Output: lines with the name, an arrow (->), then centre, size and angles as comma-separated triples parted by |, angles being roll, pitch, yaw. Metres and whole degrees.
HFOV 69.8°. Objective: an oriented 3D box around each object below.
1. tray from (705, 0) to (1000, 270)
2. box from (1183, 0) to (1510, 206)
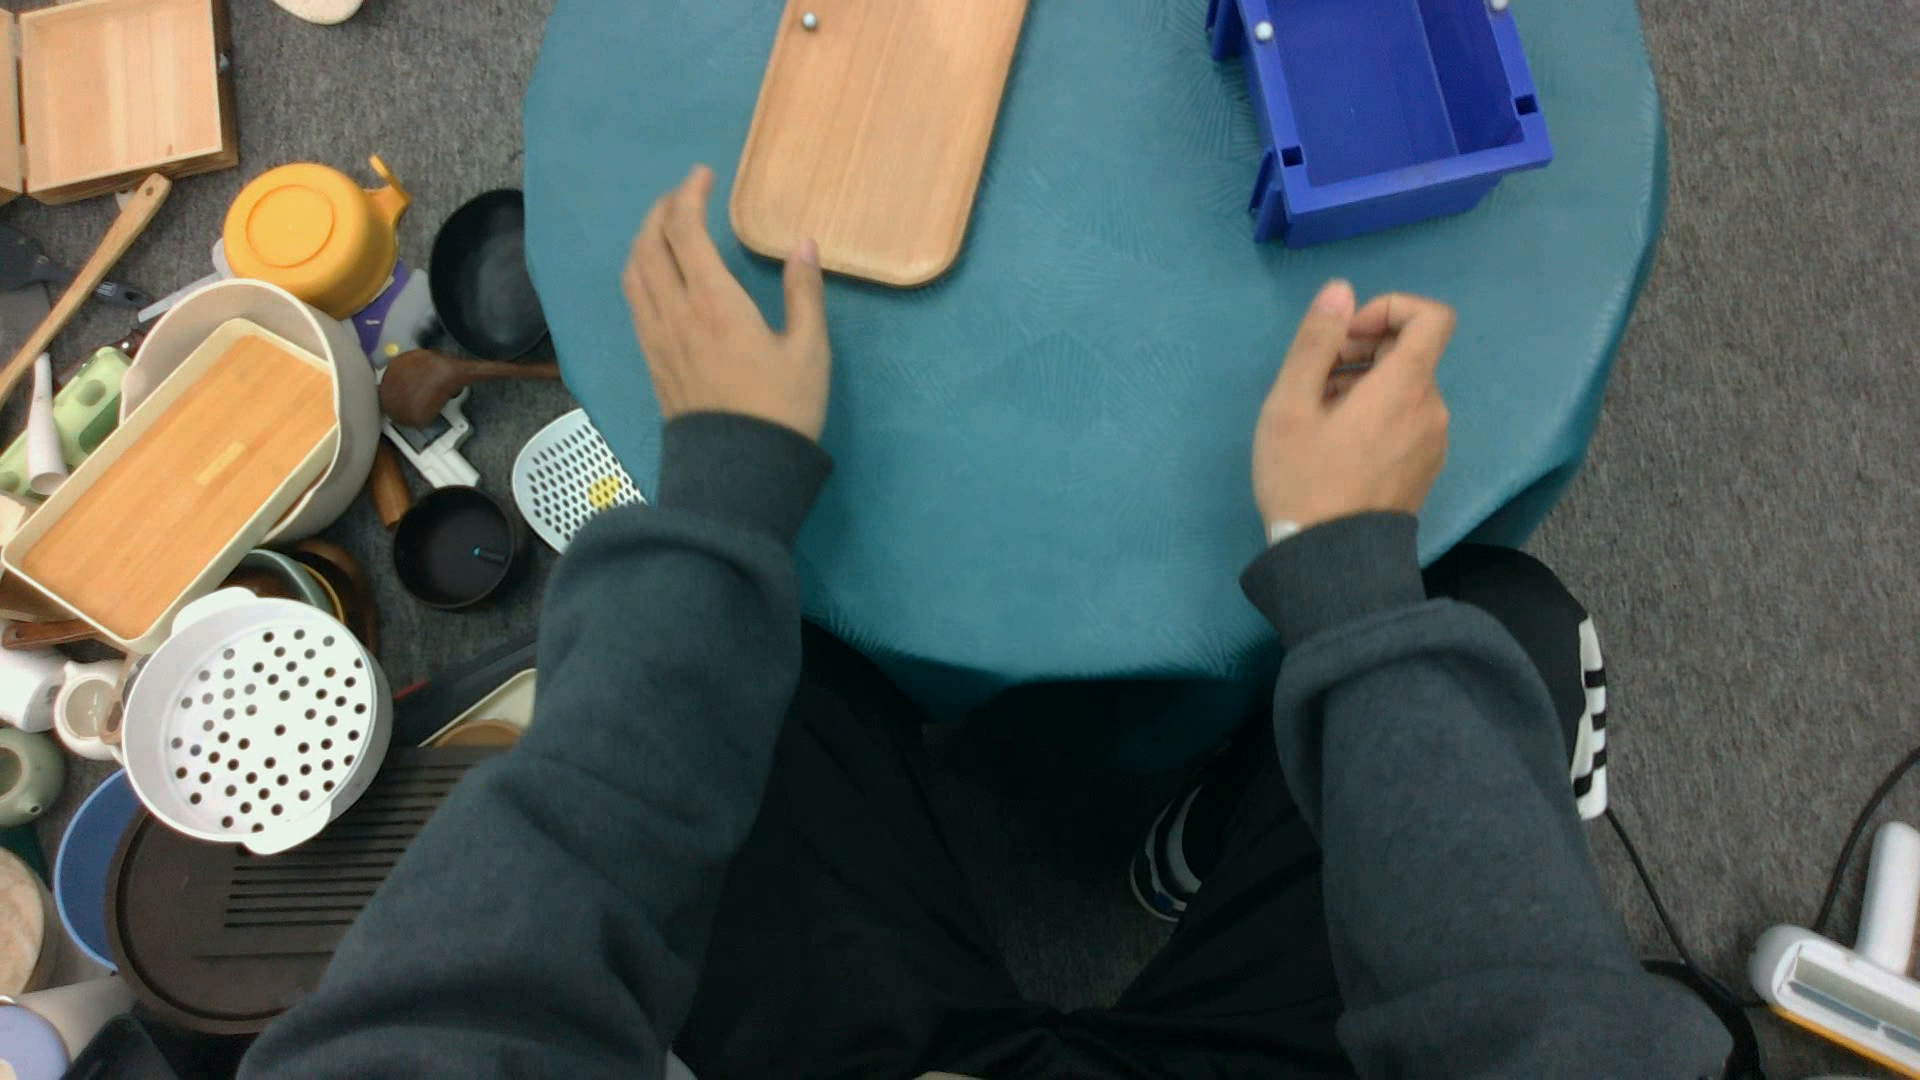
tray -> -0.049, -0.268, 0.738 | 0.130, 0.023, 0.251 | 13, 82, 9
box -> 0.181, -0.262, 0.687 | 0.124, 0.082, 0.179 | -10, 83, 3
